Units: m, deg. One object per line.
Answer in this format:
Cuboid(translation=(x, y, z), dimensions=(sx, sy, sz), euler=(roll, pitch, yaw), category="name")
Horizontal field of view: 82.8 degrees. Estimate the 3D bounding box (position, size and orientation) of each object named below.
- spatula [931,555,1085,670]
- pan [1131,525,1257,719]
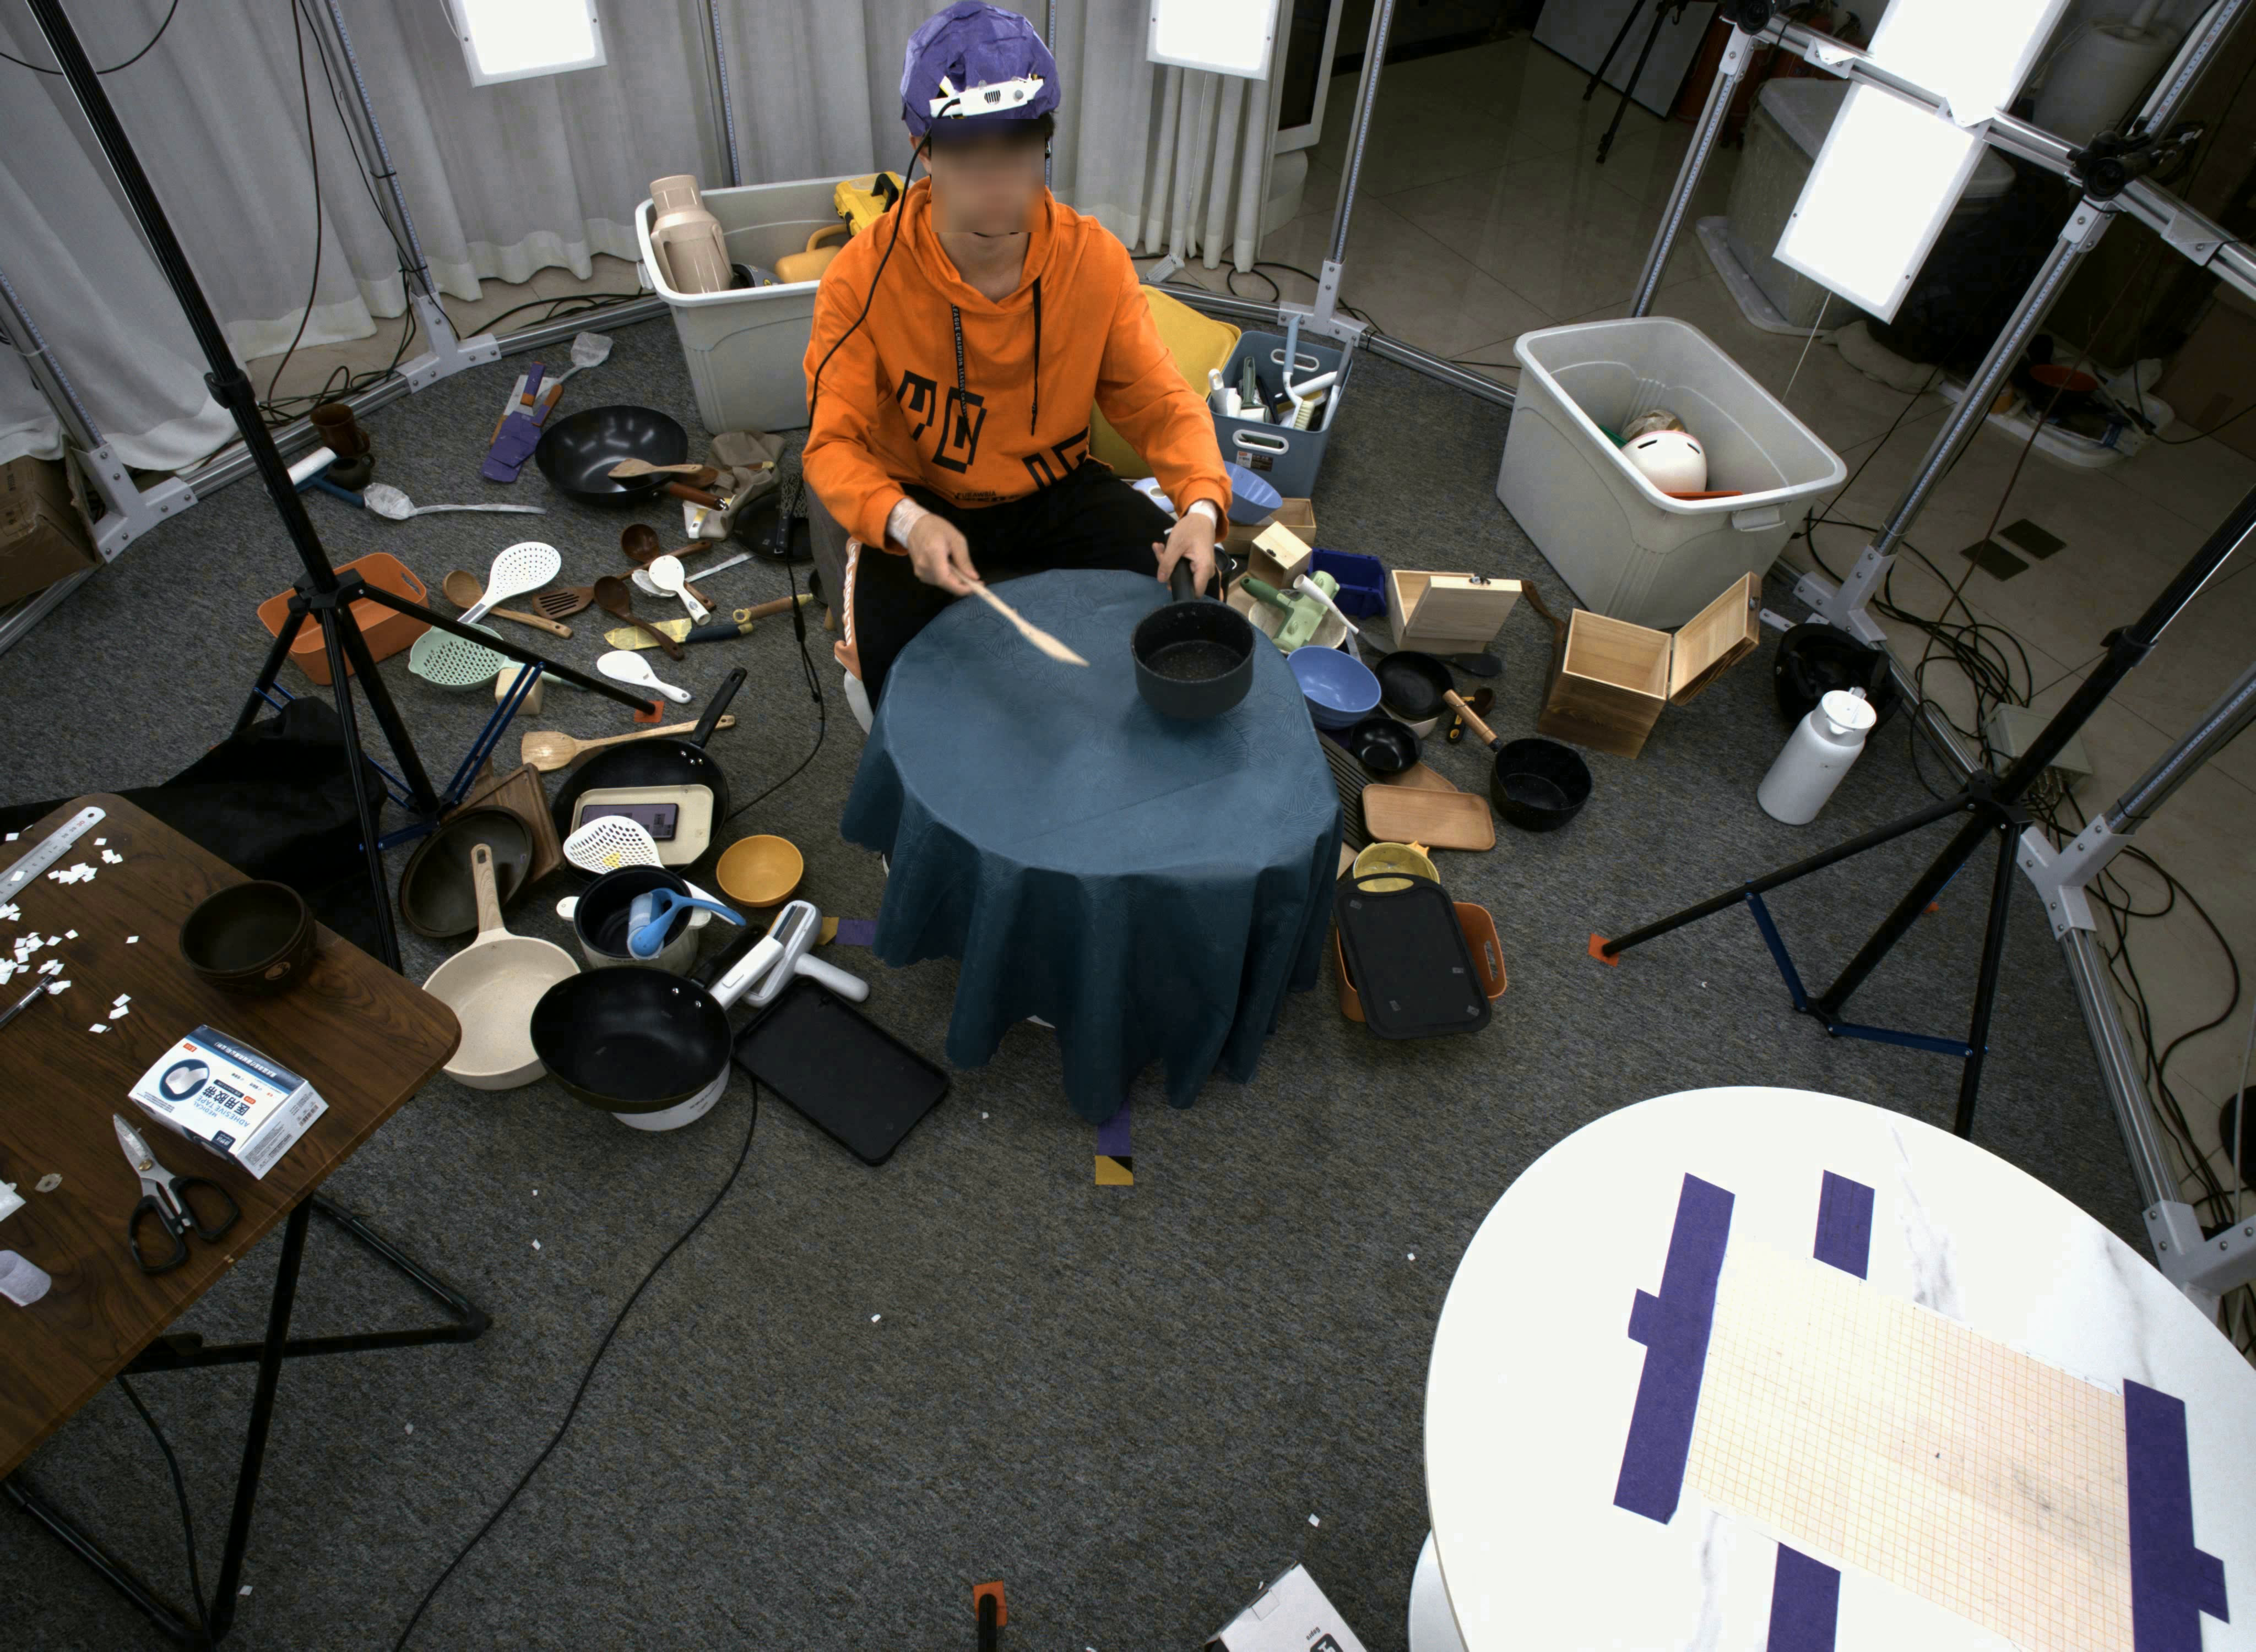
Cuboid(translation=(-0.177, -0.298, 1.787), dimensions=(0.297, 0.010, 0.072), euler=(41, 23, 26), category="spatula")
Cuboid(translation=(0.089, -0.292, 1.823), dimensions=(0.172, 0.084, 0.337), euler=(-4, 49, 2), category="pan")
